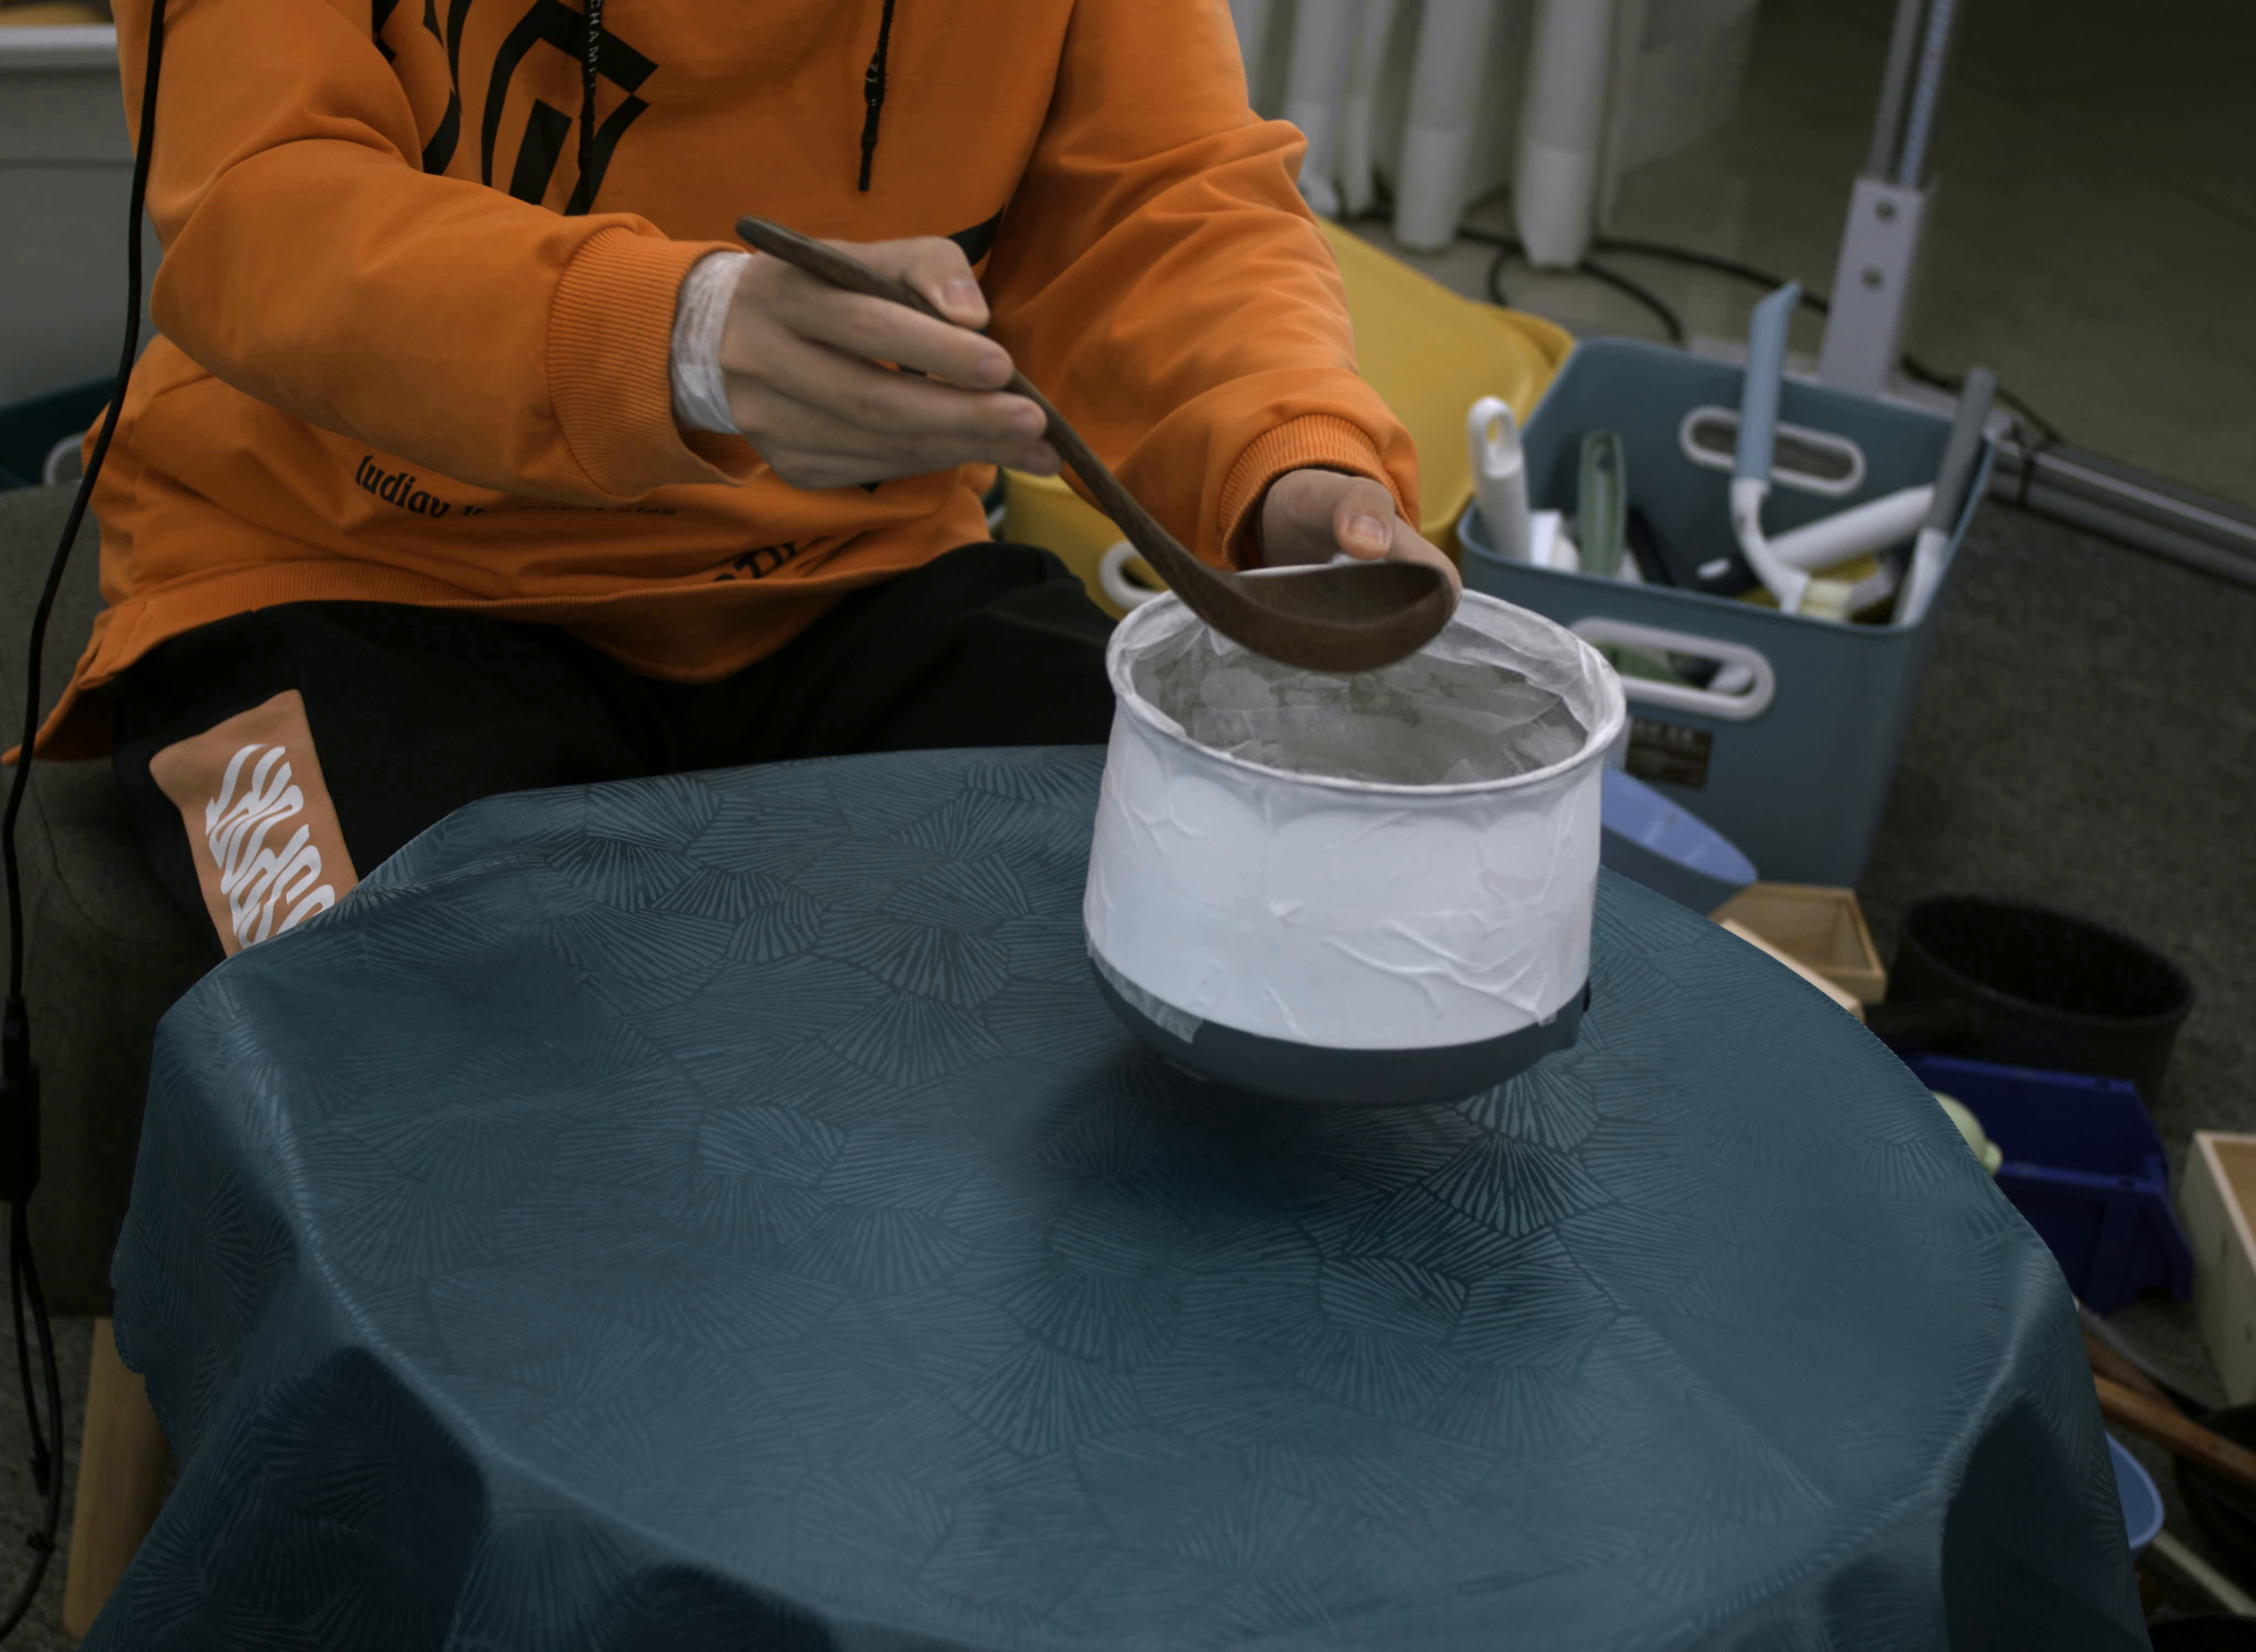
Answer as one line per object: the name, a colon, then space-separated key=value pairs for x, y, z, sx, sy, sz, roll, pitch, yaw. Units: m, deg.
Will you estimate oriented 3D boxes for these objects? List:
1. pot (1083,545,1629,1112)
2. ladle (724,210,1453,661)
pot: x=0.075 y=-0.006 z=1.842 sx=0.178 sy=0.136 sz=0.235 roll=4 pitch=26 yaw=-2
ladle: x=-0.008 y=-0.142 z=1.762 sx=0.272 sy=0.071 sz=0.076 roll=39 pitch=0 yaw=-19
